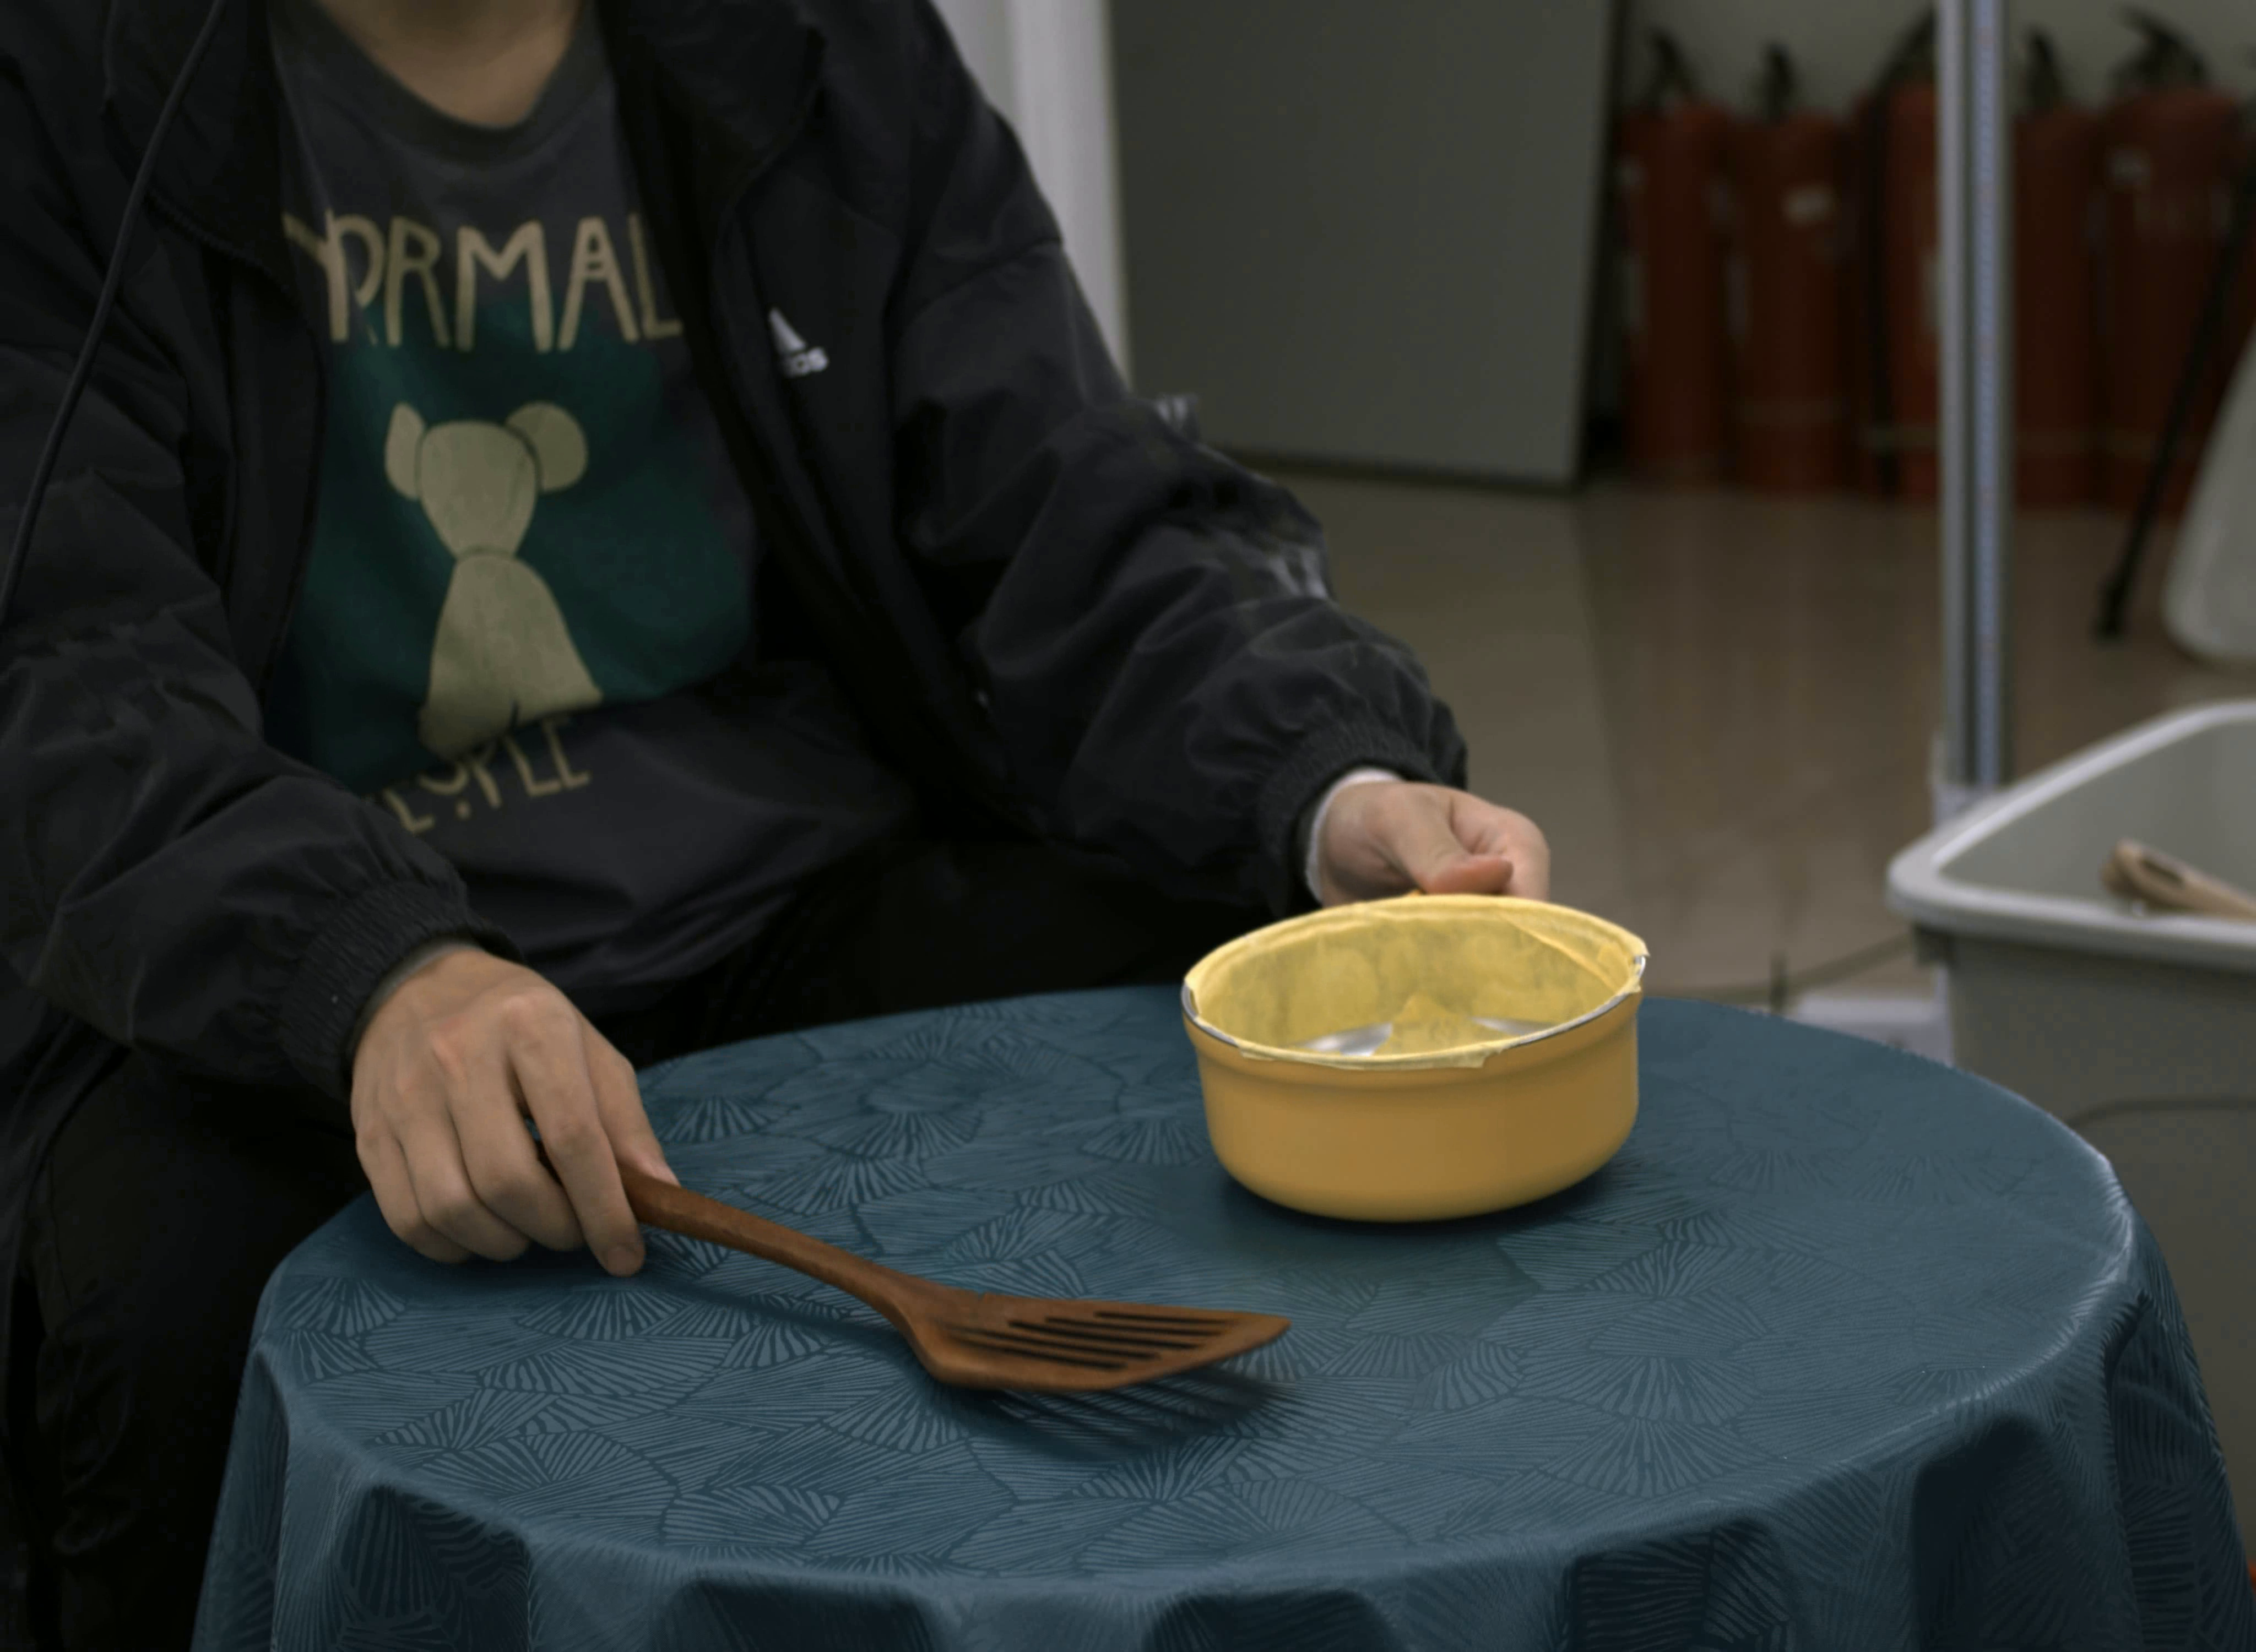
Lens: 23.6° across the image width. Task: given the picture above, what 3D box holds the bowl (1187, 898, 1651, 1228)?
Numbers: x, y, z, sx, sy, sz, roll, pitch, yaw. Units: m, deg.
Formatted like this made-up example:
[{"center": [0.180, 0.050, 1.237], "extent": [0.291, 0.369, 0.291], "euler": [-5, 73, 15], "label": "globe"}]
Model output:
[{"center": [0.099, 0.076, 1.772], "extent": [0.151, 0.075, 0.179], "euler": [-4, 18, 8], "label": "bowl"}]

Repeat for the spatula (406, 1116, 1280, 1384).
[{"center": [-0.107, 0.132, 1.686], "extent": [0.083, 0.024, 0.390], "euler": [-11, 16, -41], "label": "spatula"}]
